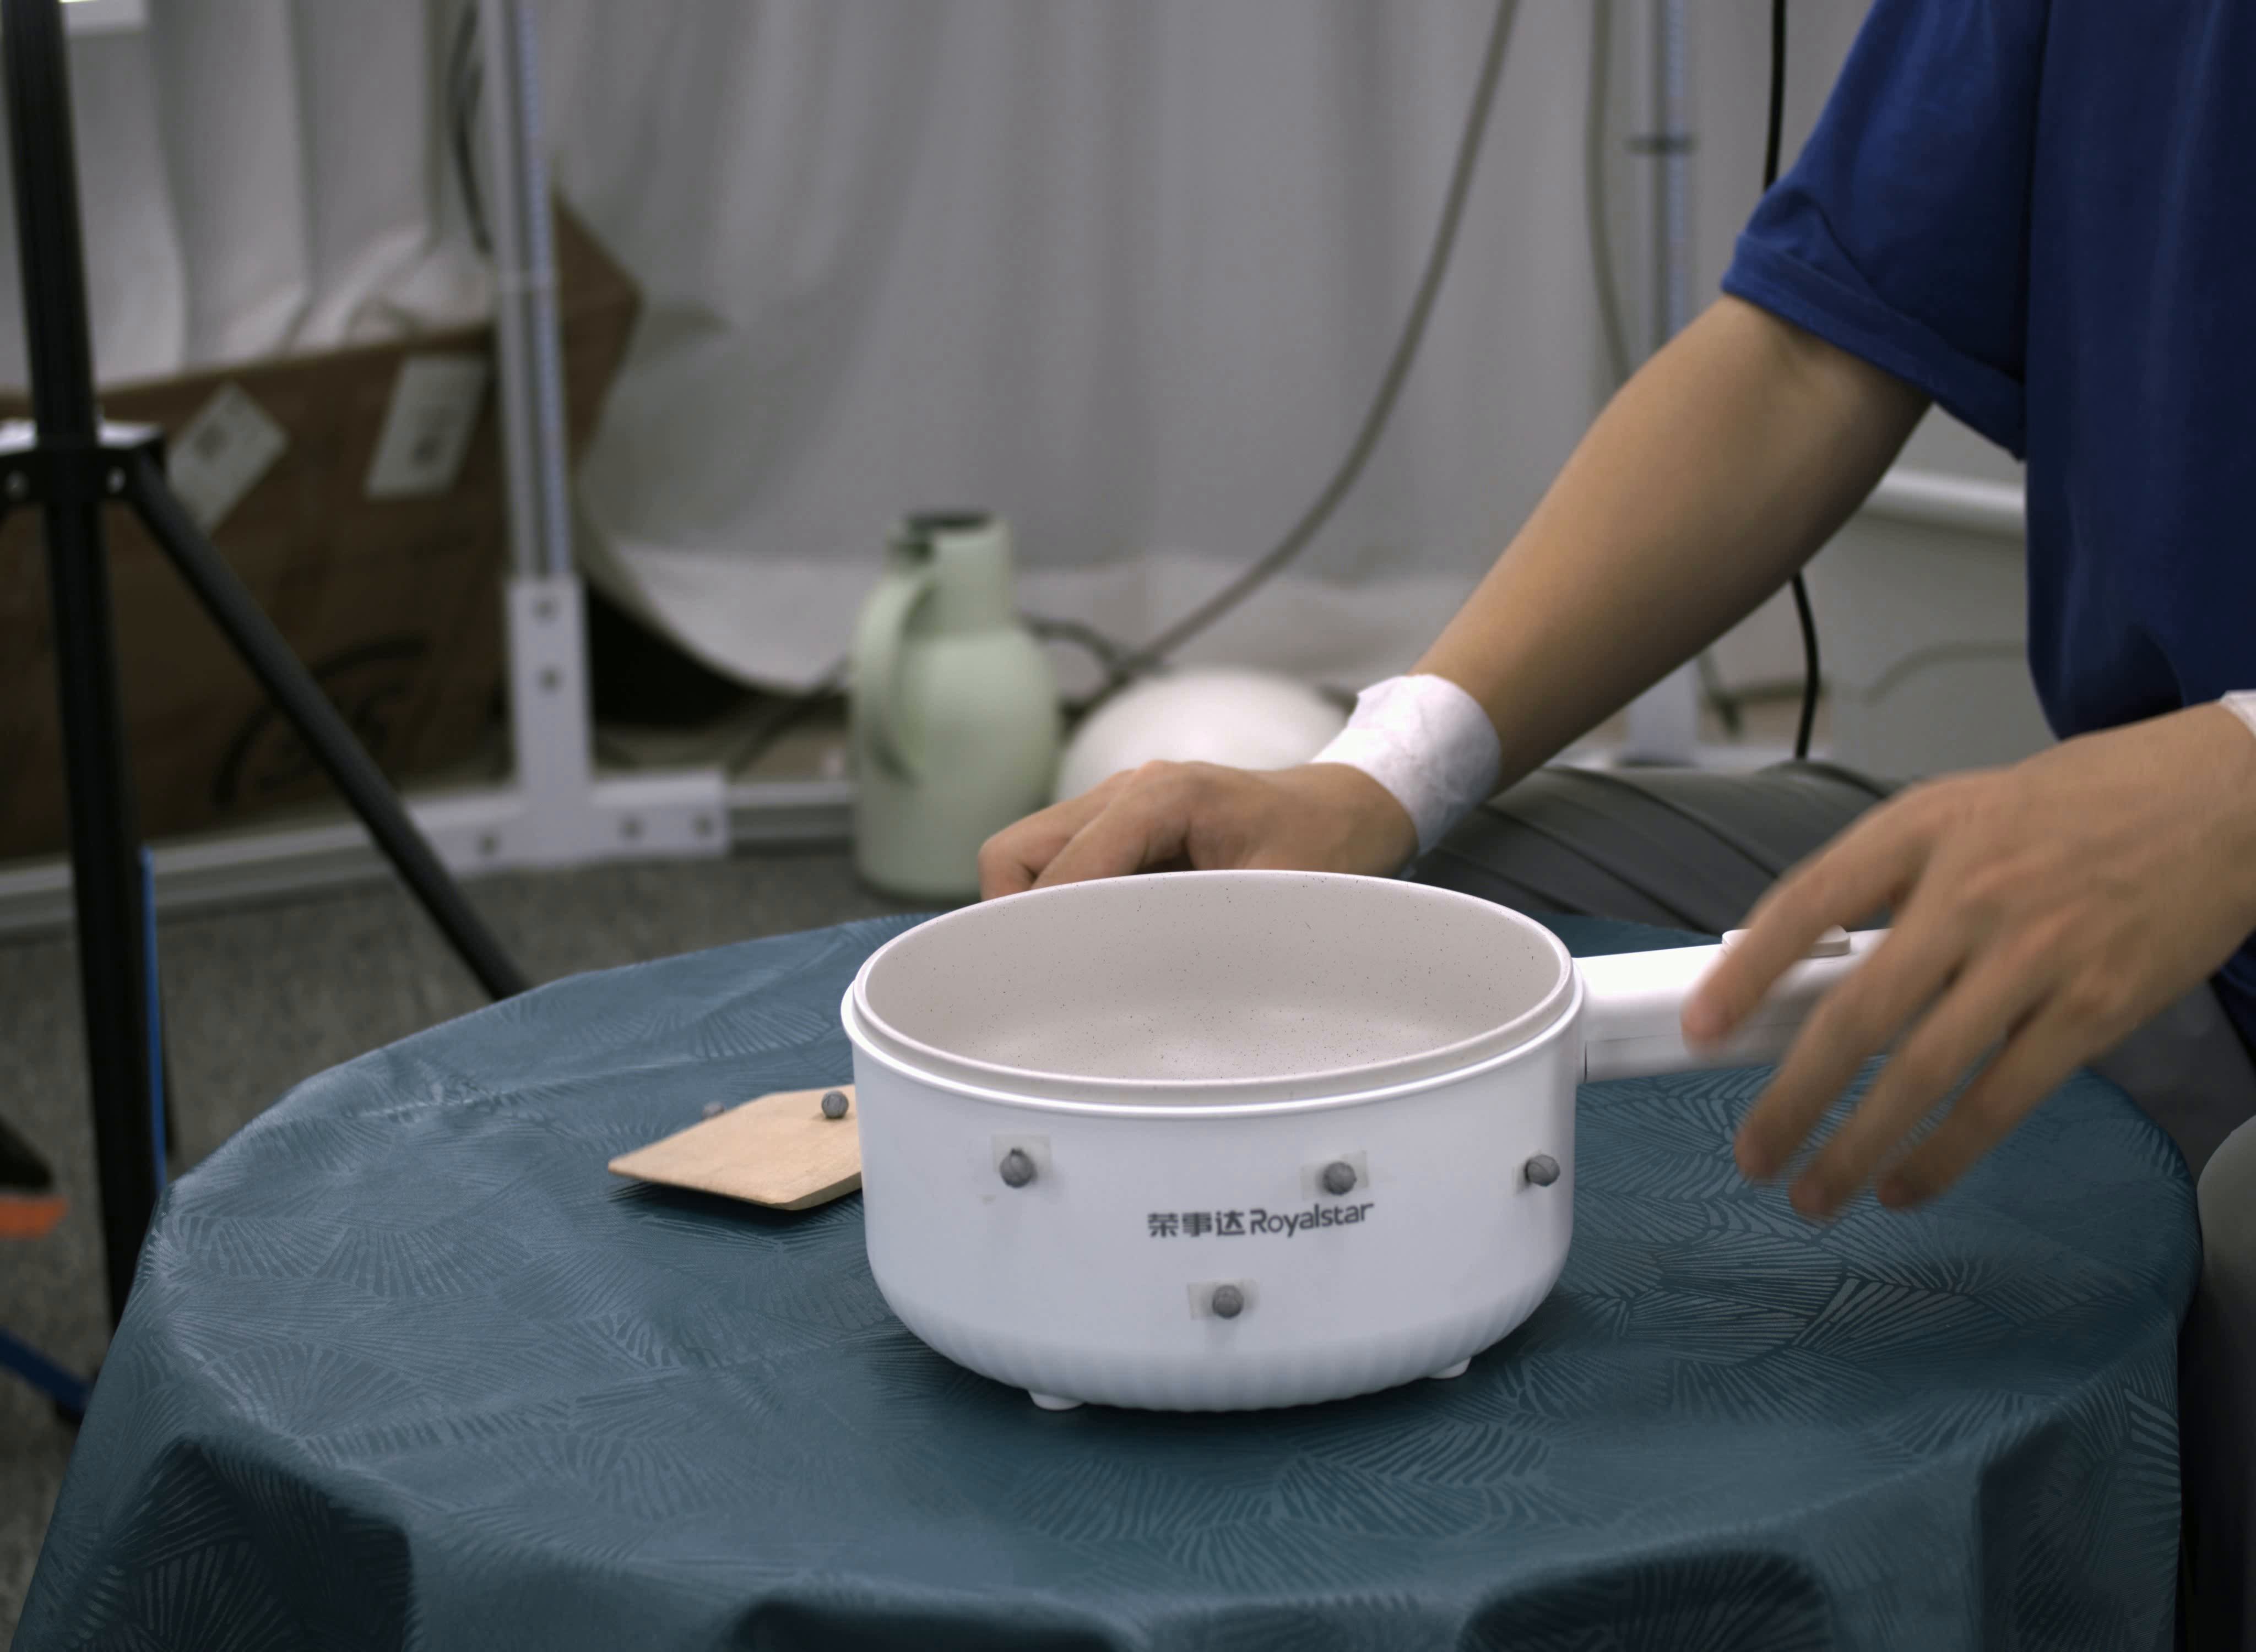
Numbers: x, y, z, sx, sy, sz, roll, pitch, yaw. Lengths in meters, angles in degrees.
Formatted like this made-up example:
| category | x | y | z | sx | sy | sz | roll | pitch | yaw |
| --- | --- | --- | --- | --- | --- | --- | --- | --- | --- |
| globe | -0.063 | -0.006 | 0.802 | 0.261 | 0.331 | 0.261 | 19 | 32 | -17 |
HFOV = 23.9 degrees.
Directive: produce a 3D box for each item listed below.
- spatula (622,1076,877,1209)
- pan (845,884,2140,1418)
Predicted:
| category | x | y | z | sx | sy | sz | roll | pitch | yaw |
| --- | --- | --- | --- | --- | --- | --- | --- | --- | --- |
| spatula | -0.046 | 0.072 | 1.674 | 0.073 | 0.010 | 0.287 | 9 | 19 | 33 |
| pan | 0.101 | 0.084 | 1.449 | 0.351 | 0.102 | 0.203 | -4 | 14 | -5 |
